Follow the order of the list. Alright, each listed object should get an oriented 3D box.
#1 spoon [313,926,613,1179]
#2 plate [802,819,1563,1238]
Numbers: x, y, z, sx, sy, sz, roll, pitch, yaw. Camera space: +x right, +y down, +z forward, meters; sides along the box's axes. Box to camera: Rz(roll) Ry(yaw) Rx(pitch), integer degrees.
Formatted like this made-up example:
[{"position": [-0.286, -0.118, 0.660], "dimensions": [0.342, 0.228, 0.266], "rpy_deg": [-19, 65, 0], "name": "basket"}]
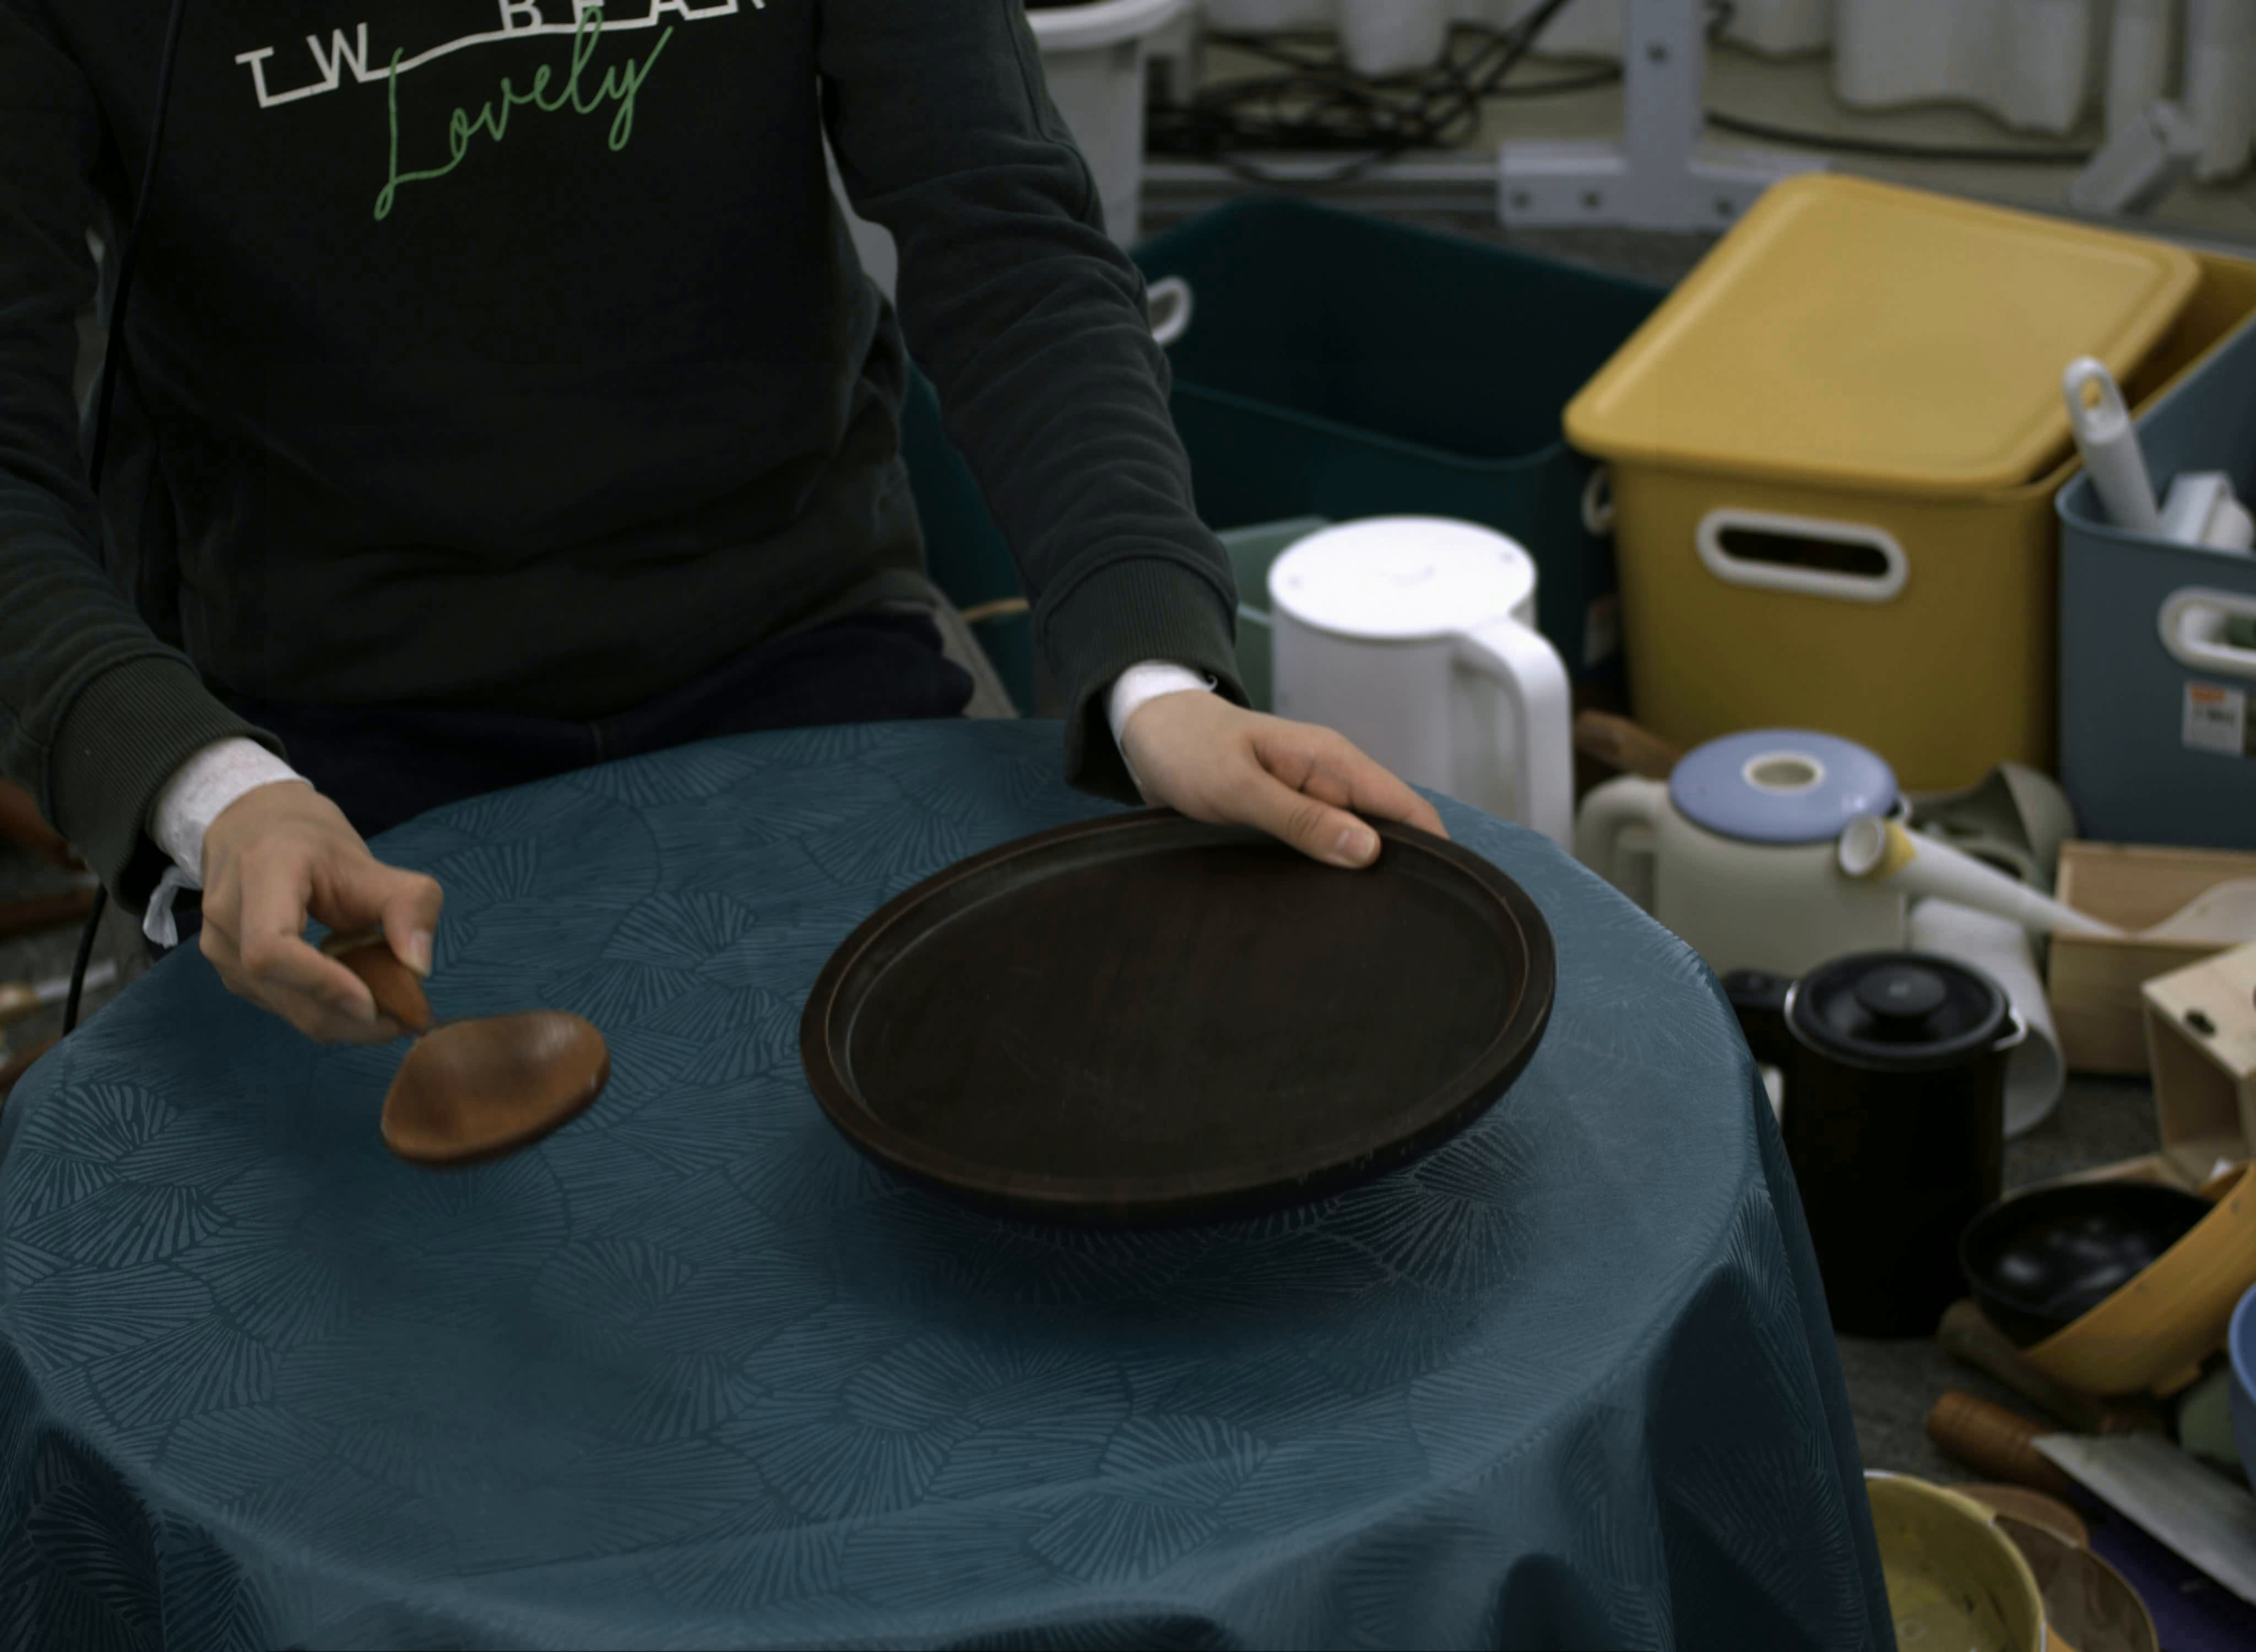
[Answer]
[{"position": [-0.219, 0.069, 1.792], "dimensions": [0.076, 0.017, 0.216], "rpy_deg": [-30, 26, -15], "name": "spoon"}, {"position": [0.018, 0.064, 1.857], "dimensions": [0.253, 0.029, 0.259], "rpy_deg": [-4, 29, 3], "name": "plate"}]
